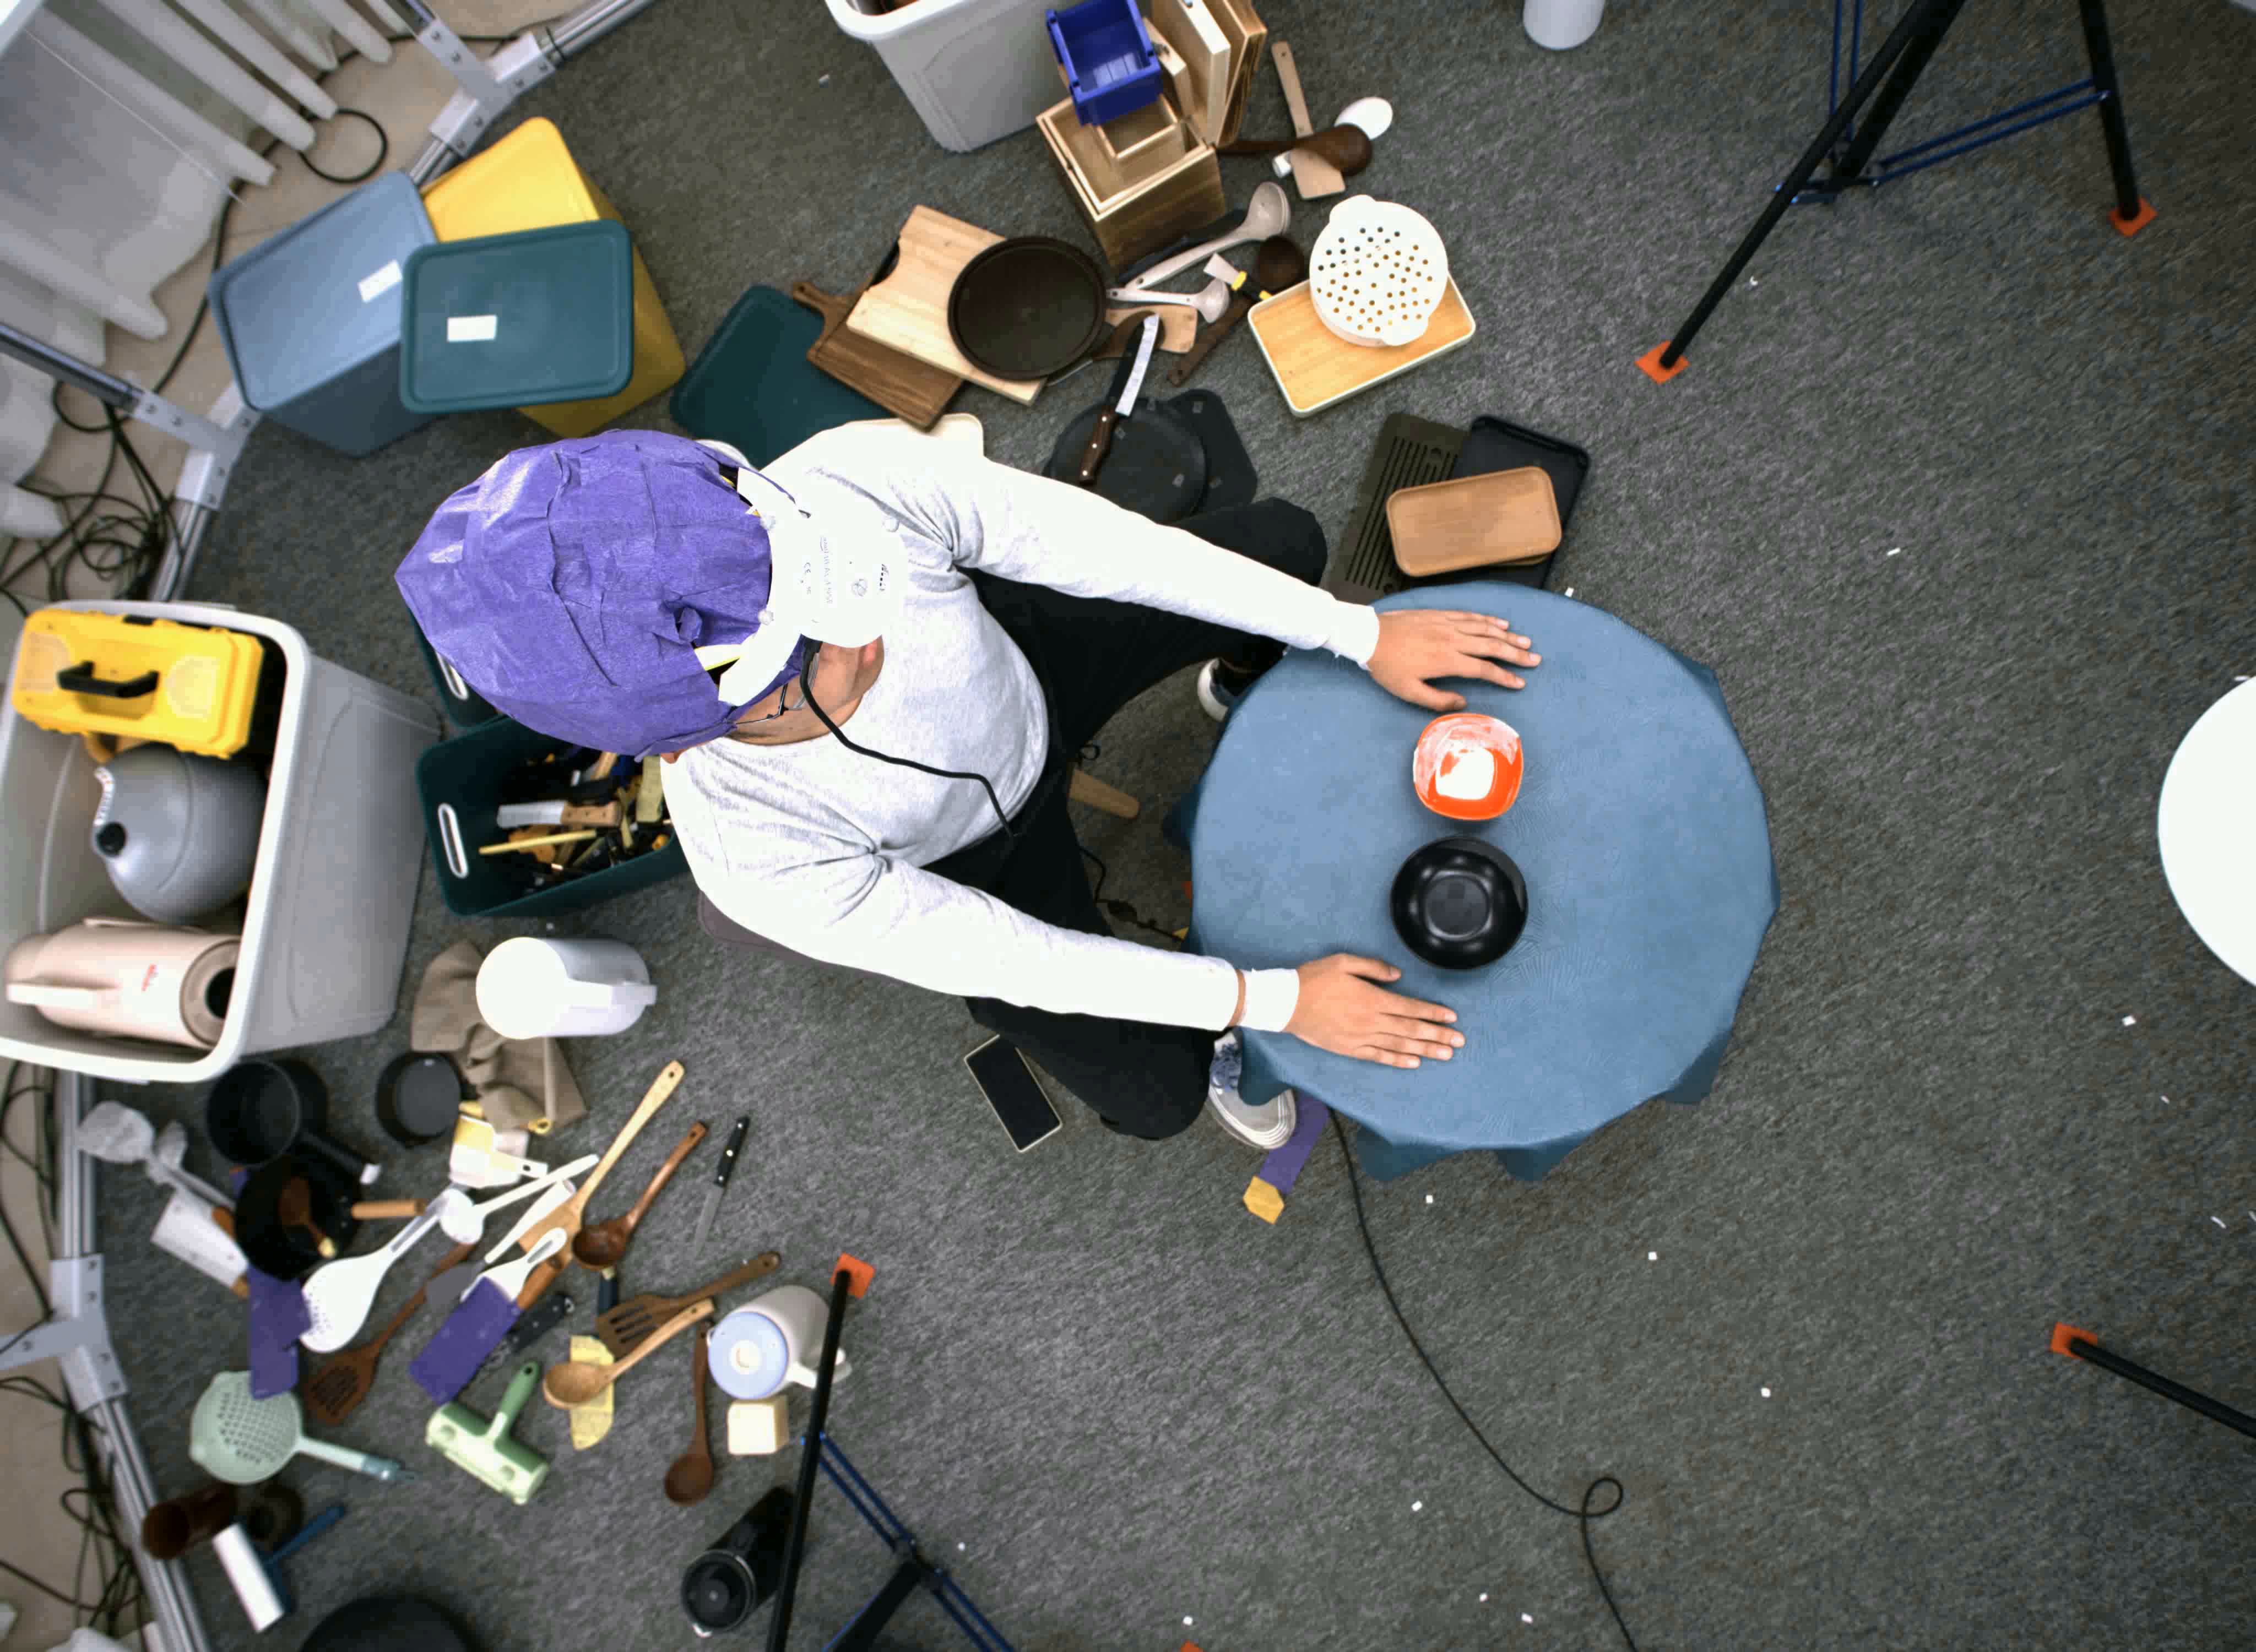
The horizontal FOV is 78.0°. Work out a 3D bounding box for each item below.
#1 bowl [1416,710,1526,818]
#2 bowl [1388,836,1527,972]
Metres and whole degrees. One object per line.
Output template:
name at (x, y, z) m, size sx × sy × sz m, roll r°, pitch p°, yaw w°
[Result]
bowl at (0.353, -0.064, 1.424) m, size 0.119 × 0.051 × 0.118 m, roll 0°, pitch 88°, yaw 8°
bowl at (0.340, 0.081, 1.424) m, size 0.141 × 0.050 × 0.139 m, roll -2°, pitch 84°, yaw 14°
